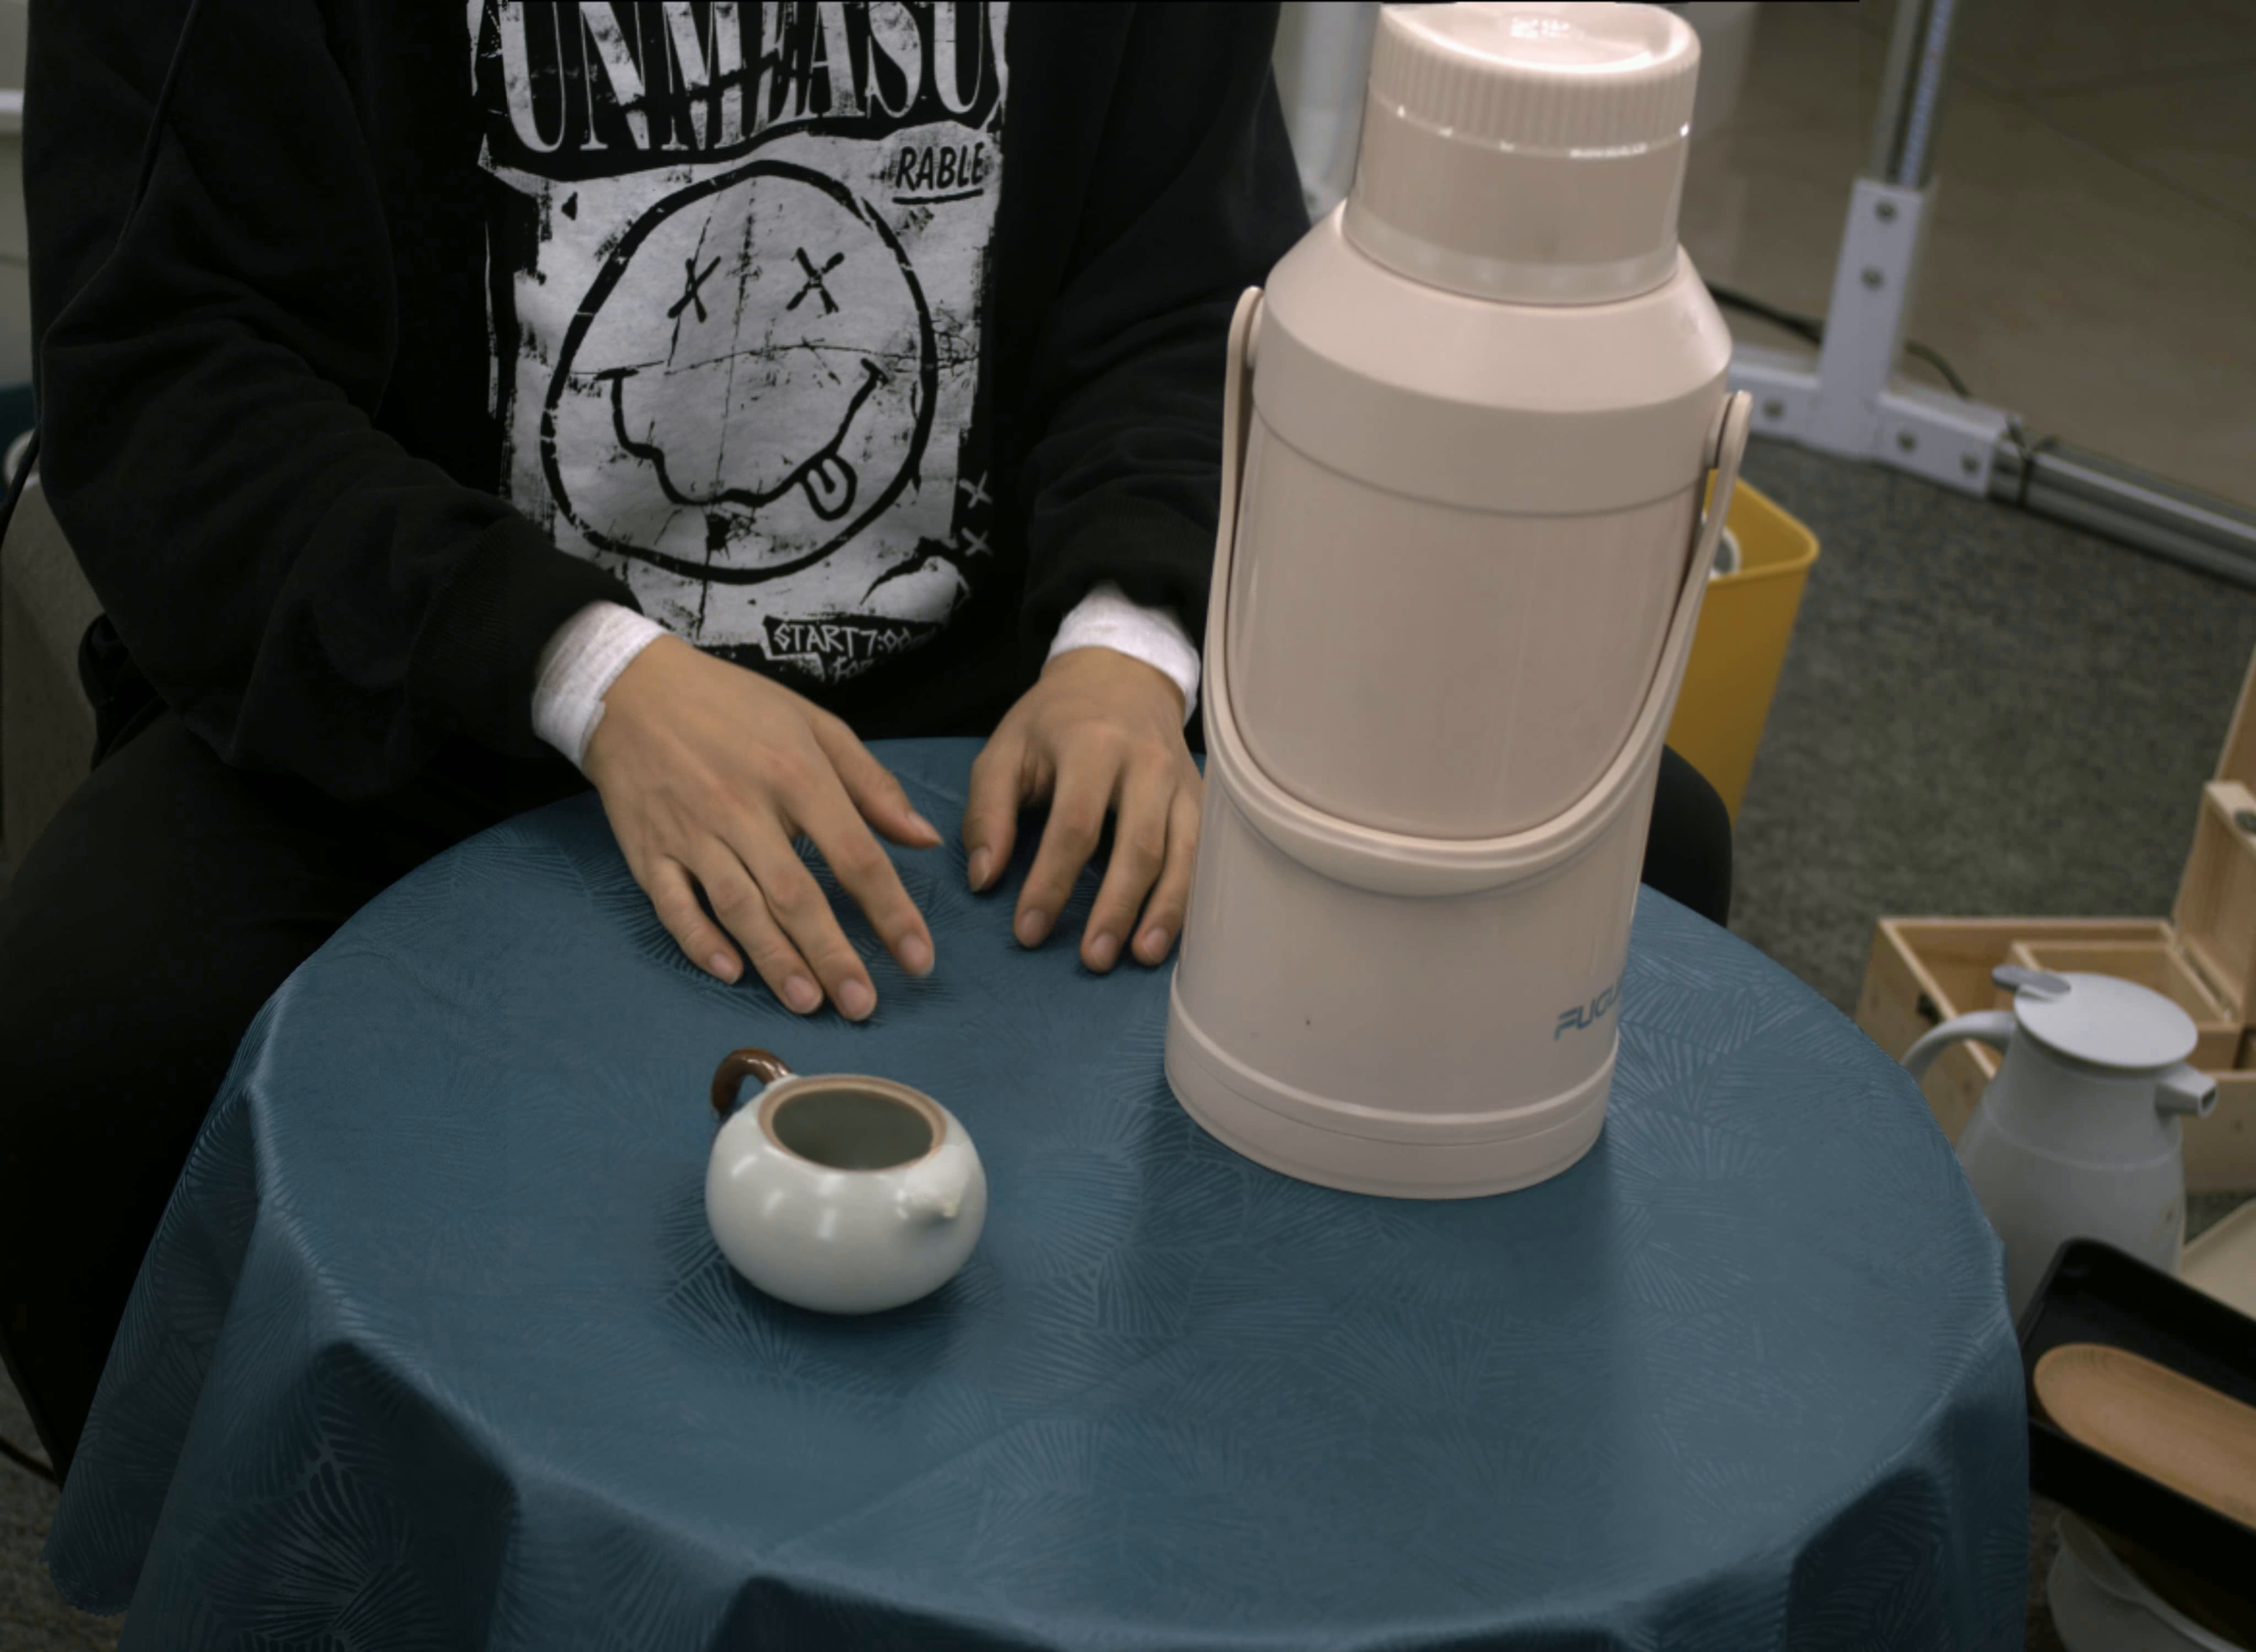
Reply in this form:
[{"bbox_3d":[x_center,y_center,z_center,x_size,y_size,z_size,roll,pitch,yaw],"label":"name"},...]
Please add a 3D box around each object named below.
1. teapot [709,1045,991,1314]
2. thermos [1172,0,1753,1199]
[{"bbox_3d":[-0.097,0.115,1.735,0.091,0.059,0.129,-21,39,-35],"label":"teapot"},{"bbox_3d":[0.118,-0.089,1.813,0.175,0.405,0.207,11,27,12],"label":"thermos"}]
